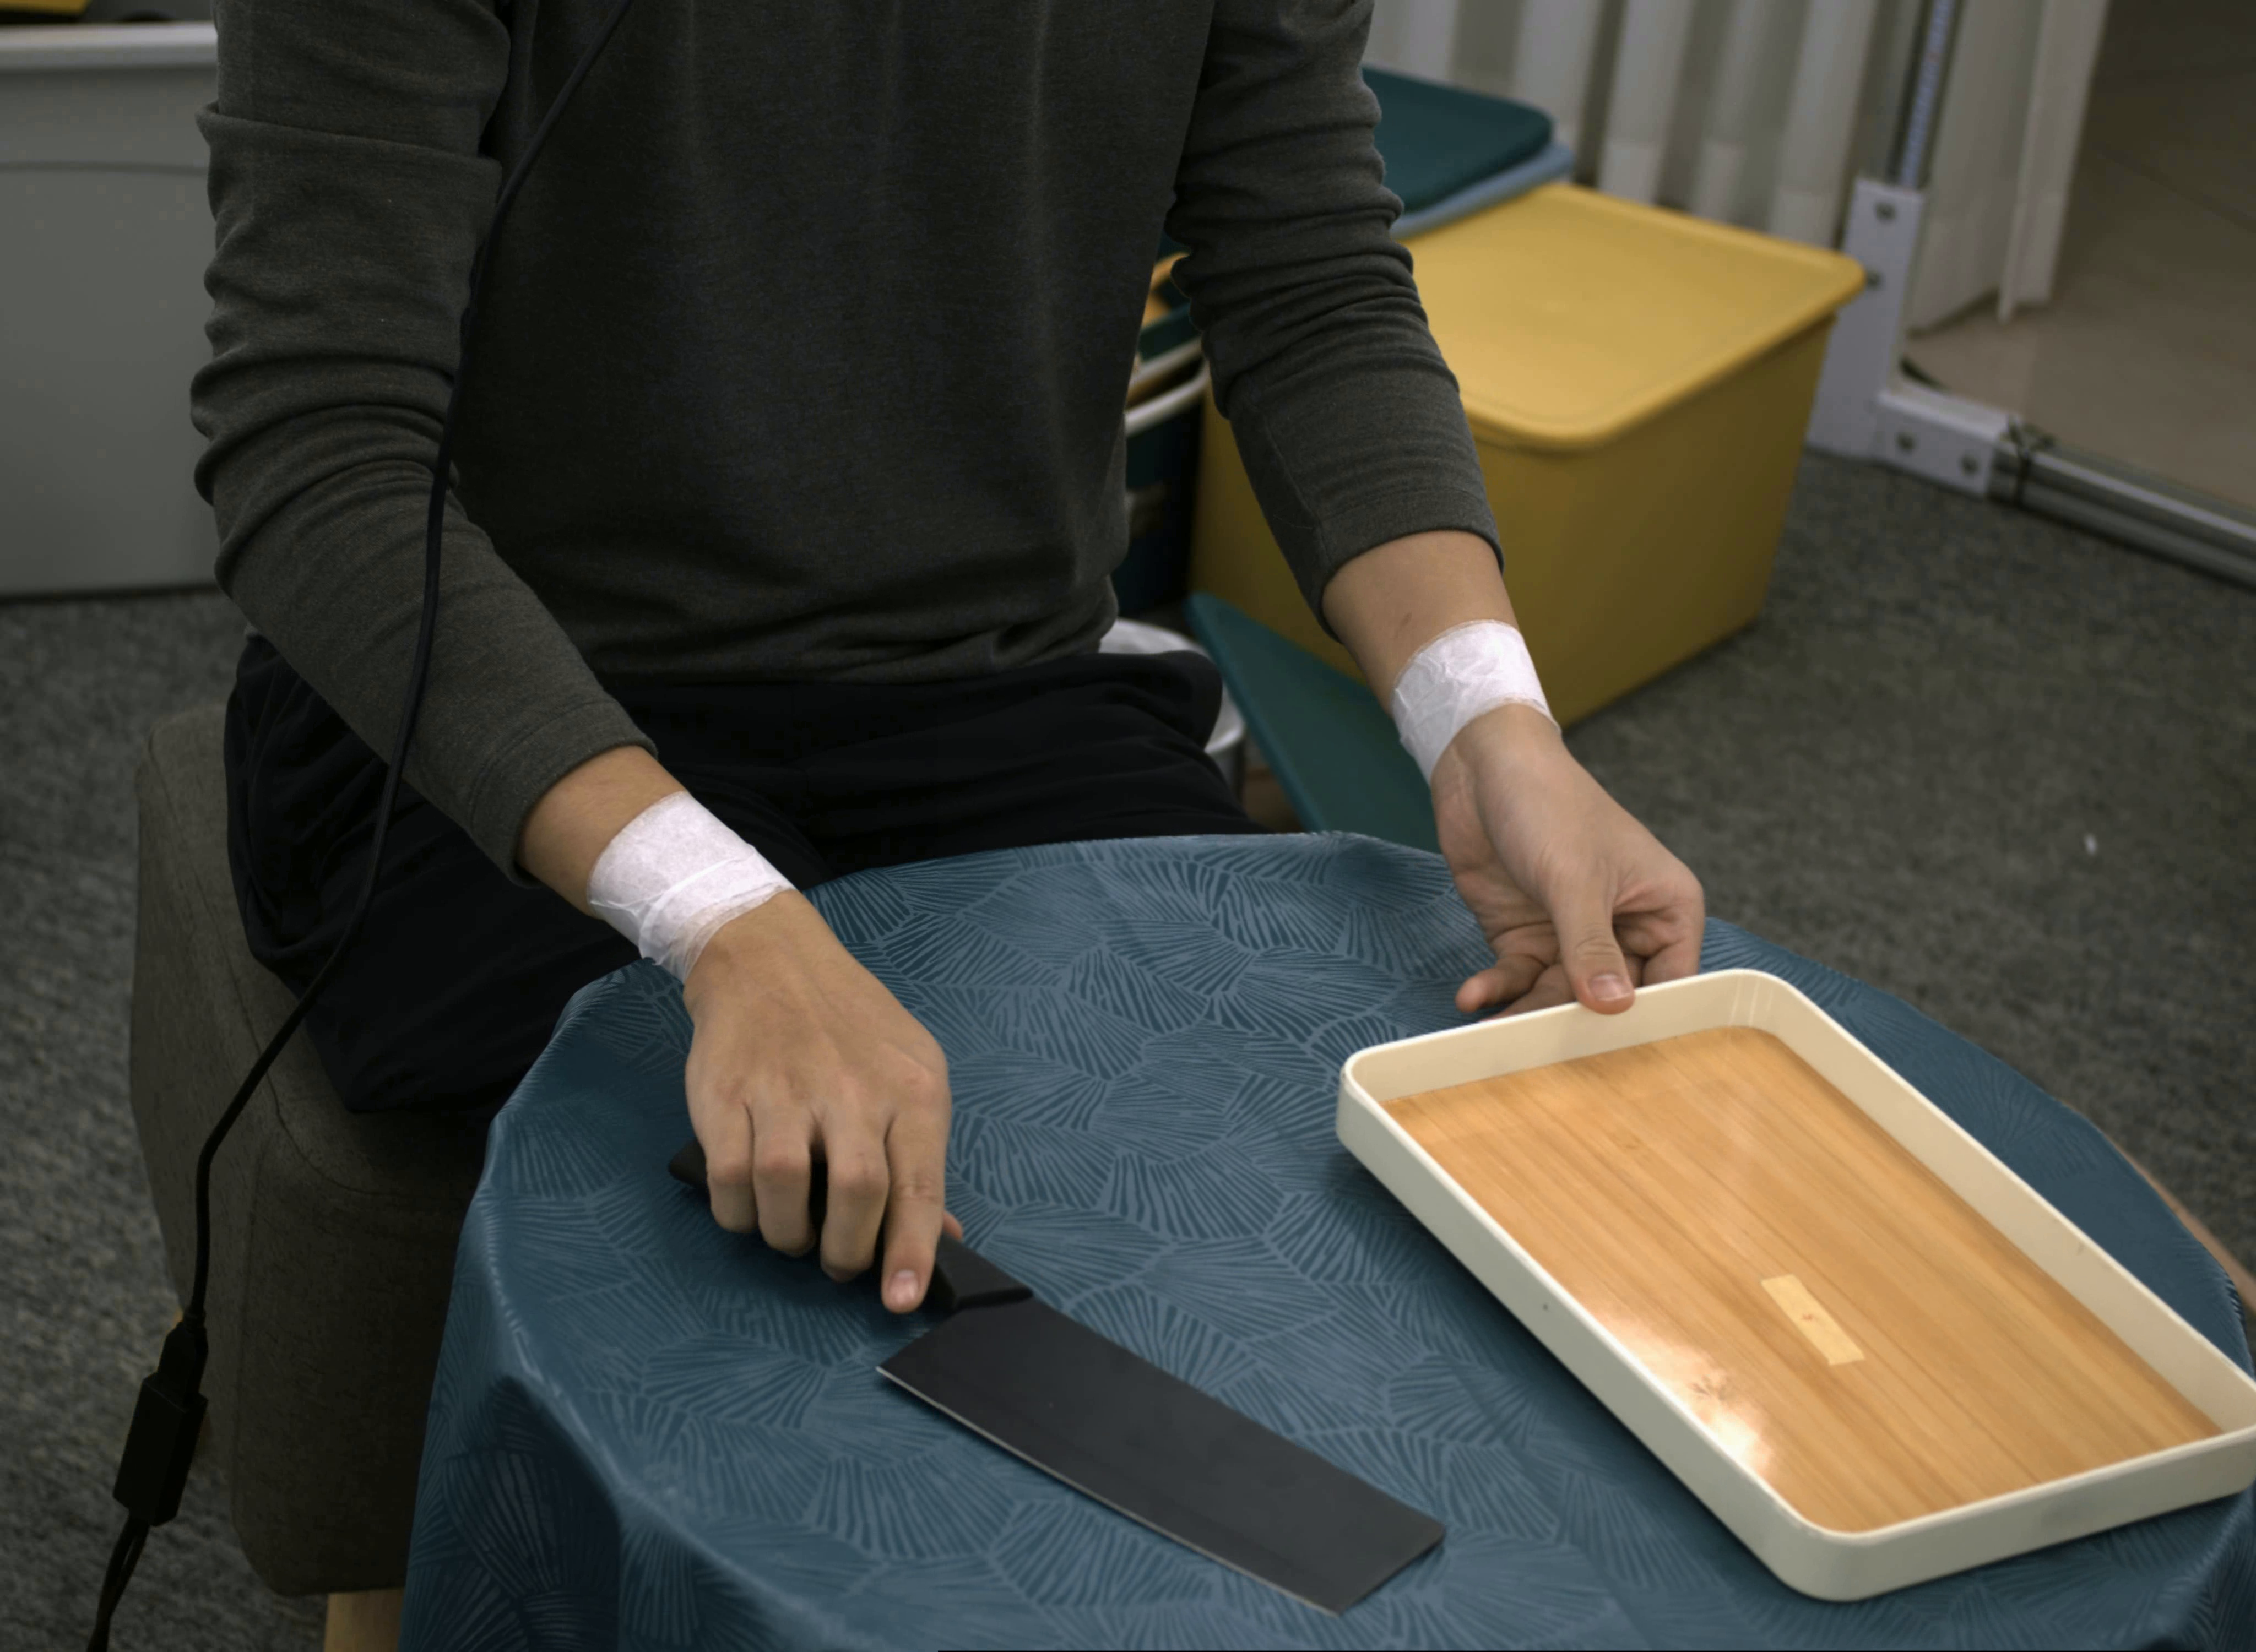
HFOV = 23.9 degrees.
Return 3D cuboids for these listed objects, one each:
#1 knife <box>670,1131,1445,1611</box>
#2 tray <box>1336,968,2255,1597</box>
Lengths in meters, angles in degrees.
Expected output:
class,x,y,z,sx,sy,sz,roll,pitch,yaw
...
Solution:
class,x,y,z,sx,sy,sz,roll,pitch,yaw
knife,-0.034,0.170,1.692,0.304,0.021,0.080,29,36,34
tray,0.219,0.145,1.769,0.190,0.027,0.303,-10,33,-28
